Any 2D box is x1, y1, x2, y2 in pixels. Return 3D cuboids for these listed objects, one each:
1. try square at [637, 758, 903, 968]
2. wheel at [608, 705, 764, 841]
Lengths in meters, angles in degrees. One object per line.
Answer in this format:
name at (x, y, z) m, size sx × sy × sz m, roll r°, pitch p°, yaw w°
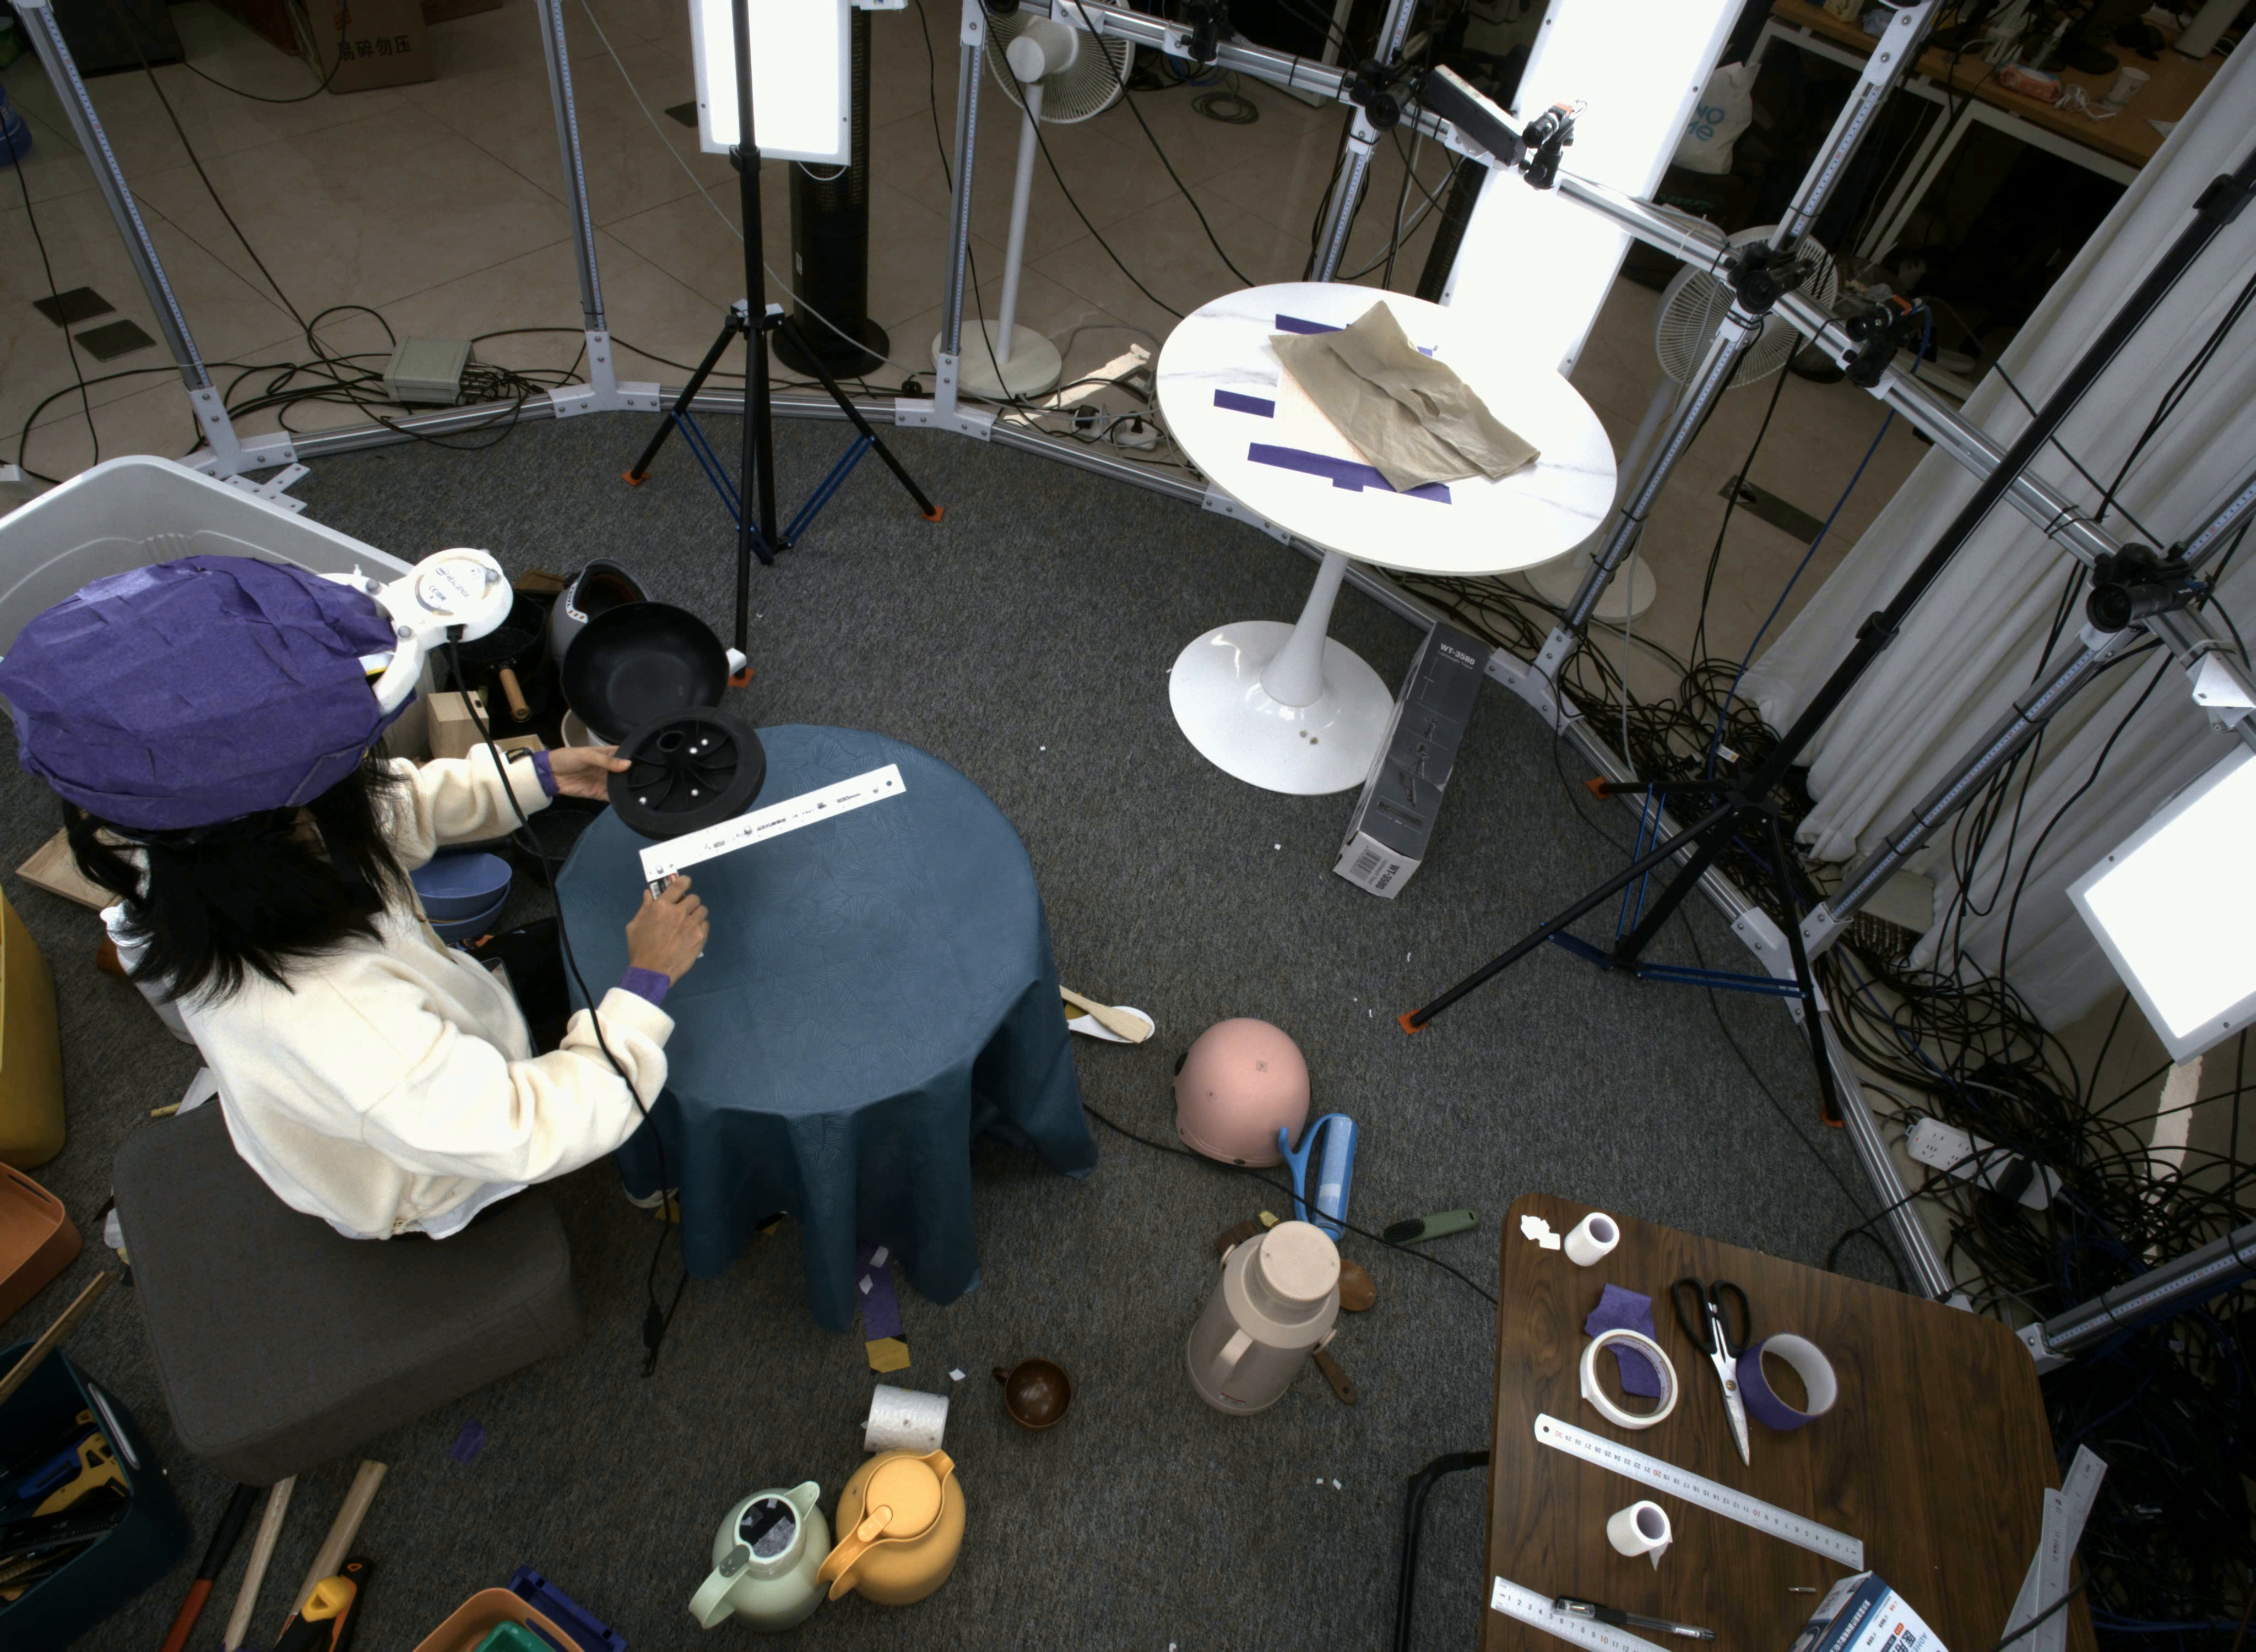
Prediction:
try square at (-0.391, 0.036, 1.470) m, size 0.312 × 0.016 × 0.150 m, roll -20°, pitch 72°, yaw -14°
wheel at (-0.527, -0.079, 1.506) m, size 0.187 × 0.081 × 0.184 m, roll -34°, pitch 64°, yaw -19°
